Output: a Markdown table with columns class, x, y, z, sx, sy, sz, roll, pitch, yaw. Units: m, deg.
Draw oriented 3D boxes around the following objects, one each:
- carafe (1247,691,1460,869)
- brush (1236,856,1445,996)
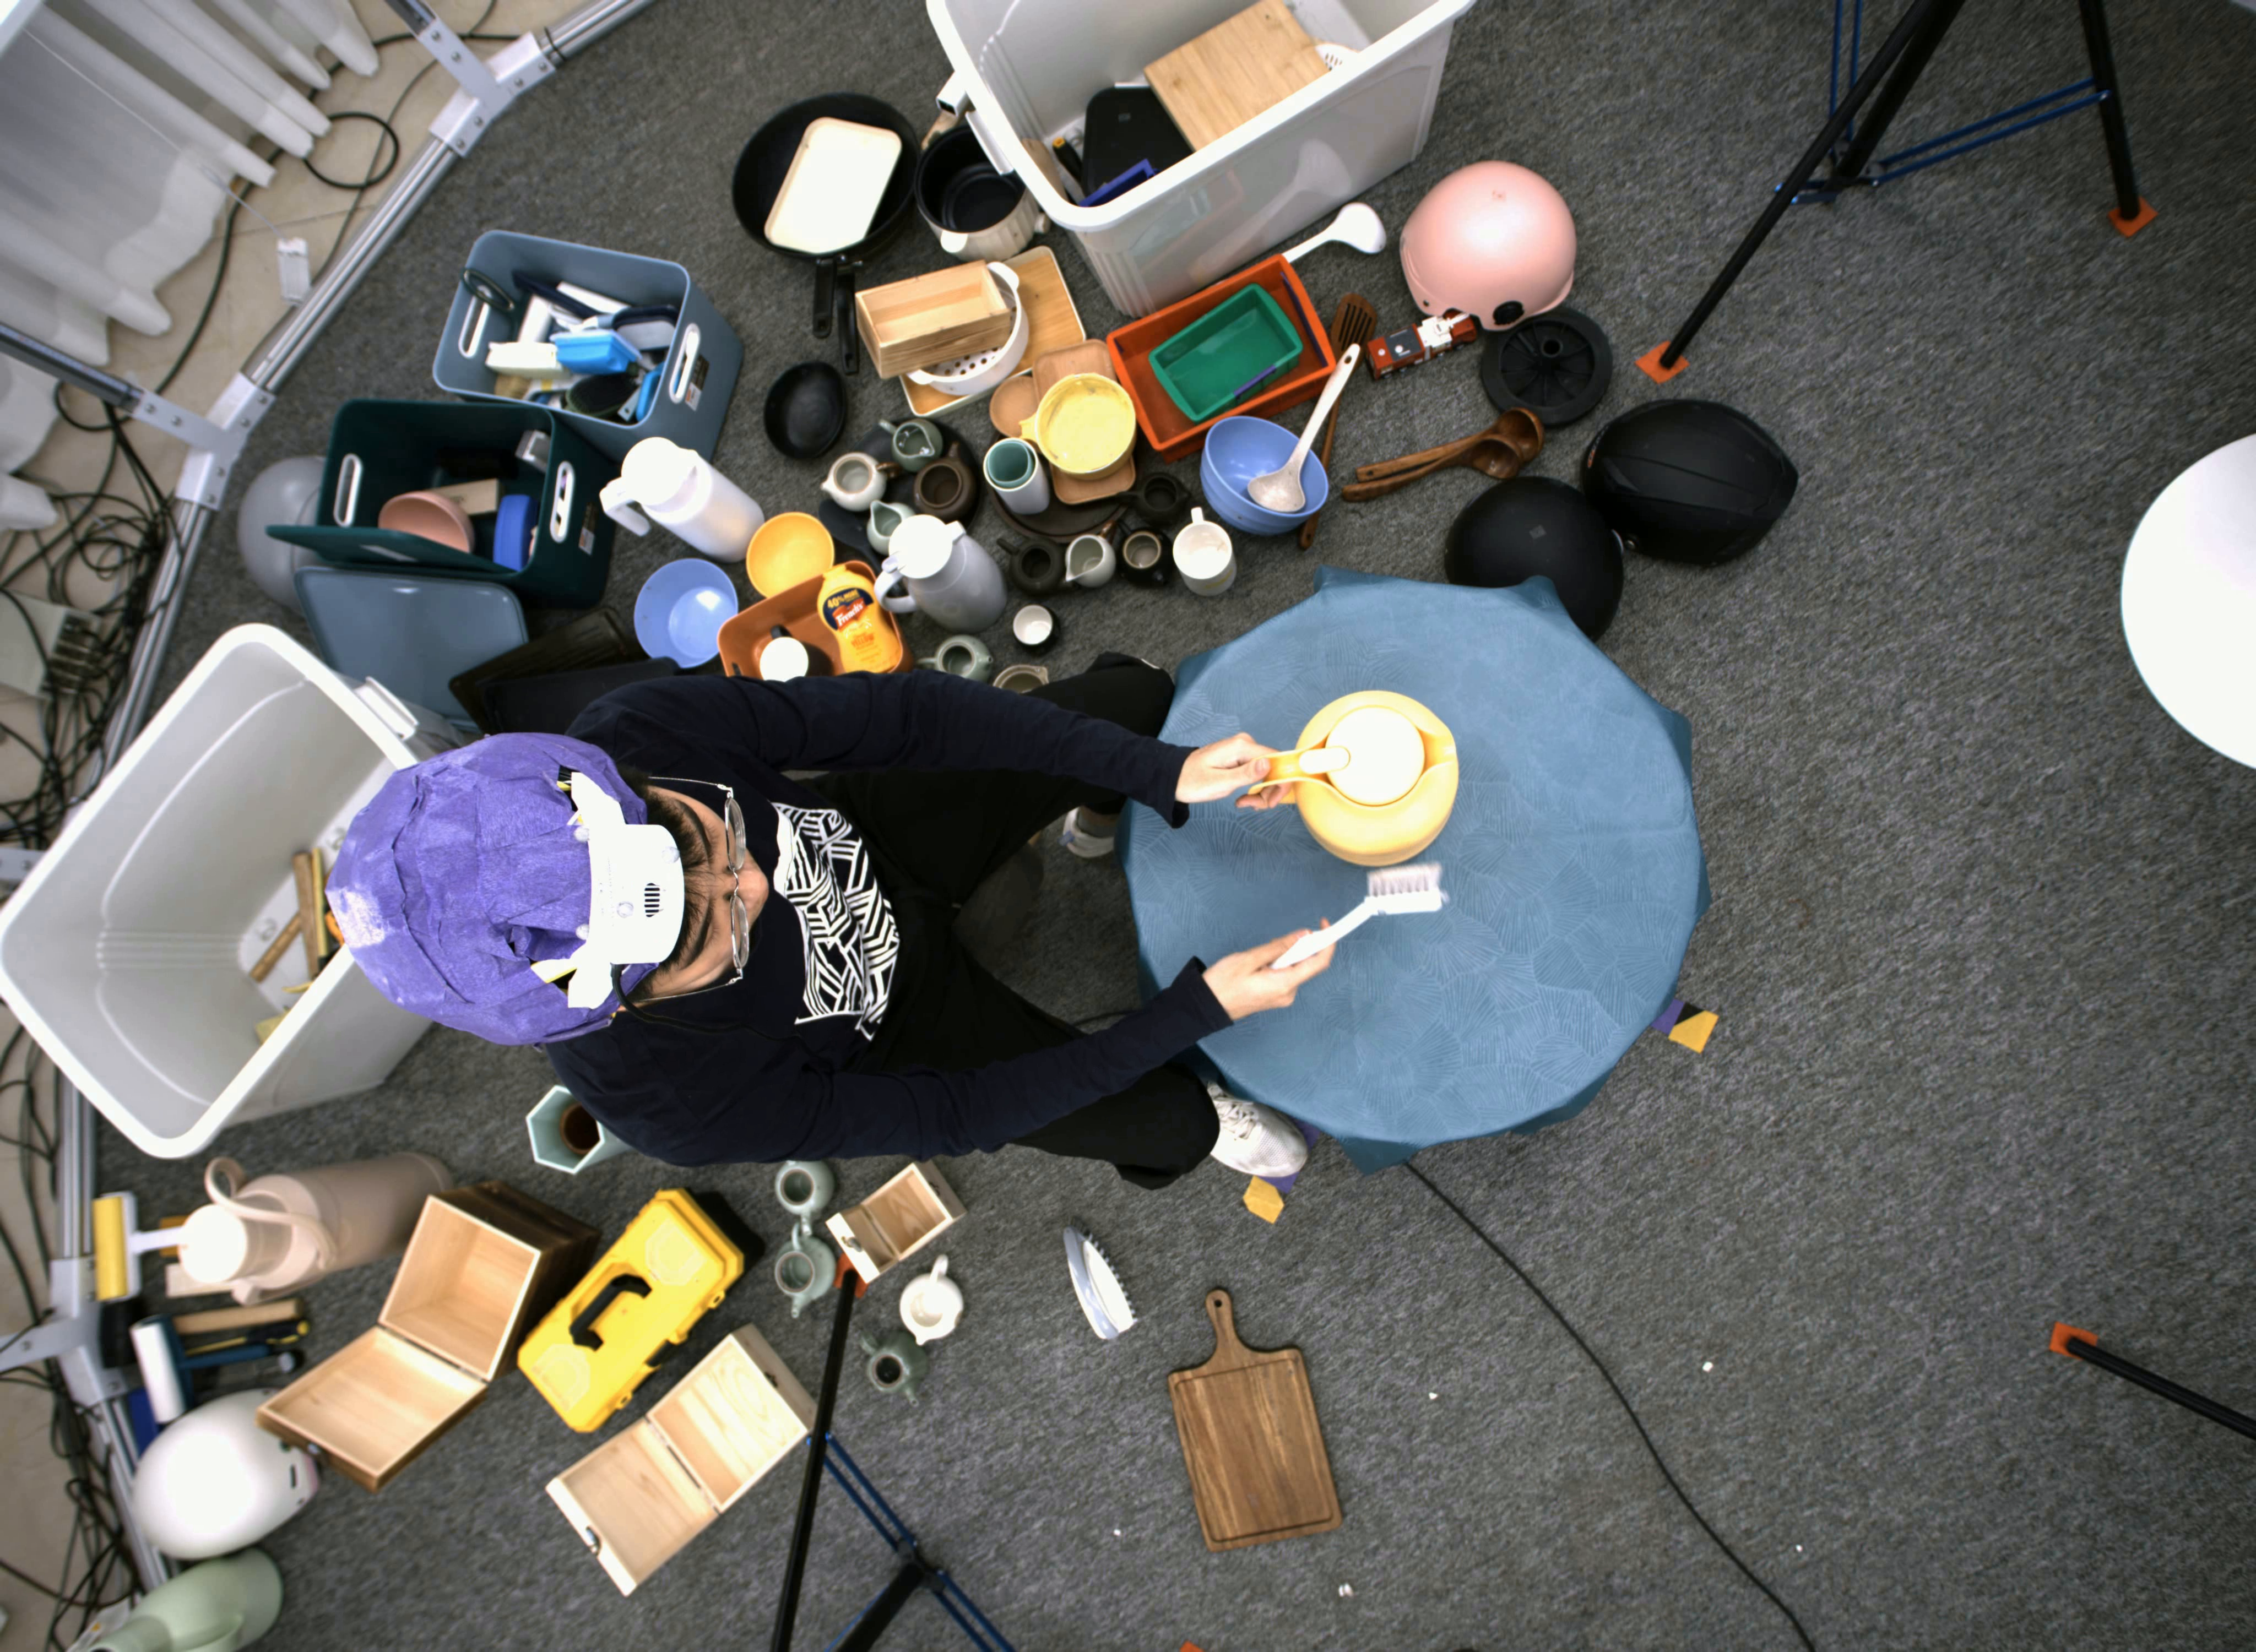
| class | x | y | z | sx | sy | sz | roll | pitch | yaw |
| --- | --- | --- | --- | --- | --- | --- | --- | --- | --- |
| carafe | 0.220 | -0.049 | 1.342 | 0.203 | 0.261 | 0.162 | -5 | 82 | 9 |
| brush | 0.203 | 0.094 | 1.362 | 0.246 | 0.034 | 0.050 | -30 | 76 | 18 |
